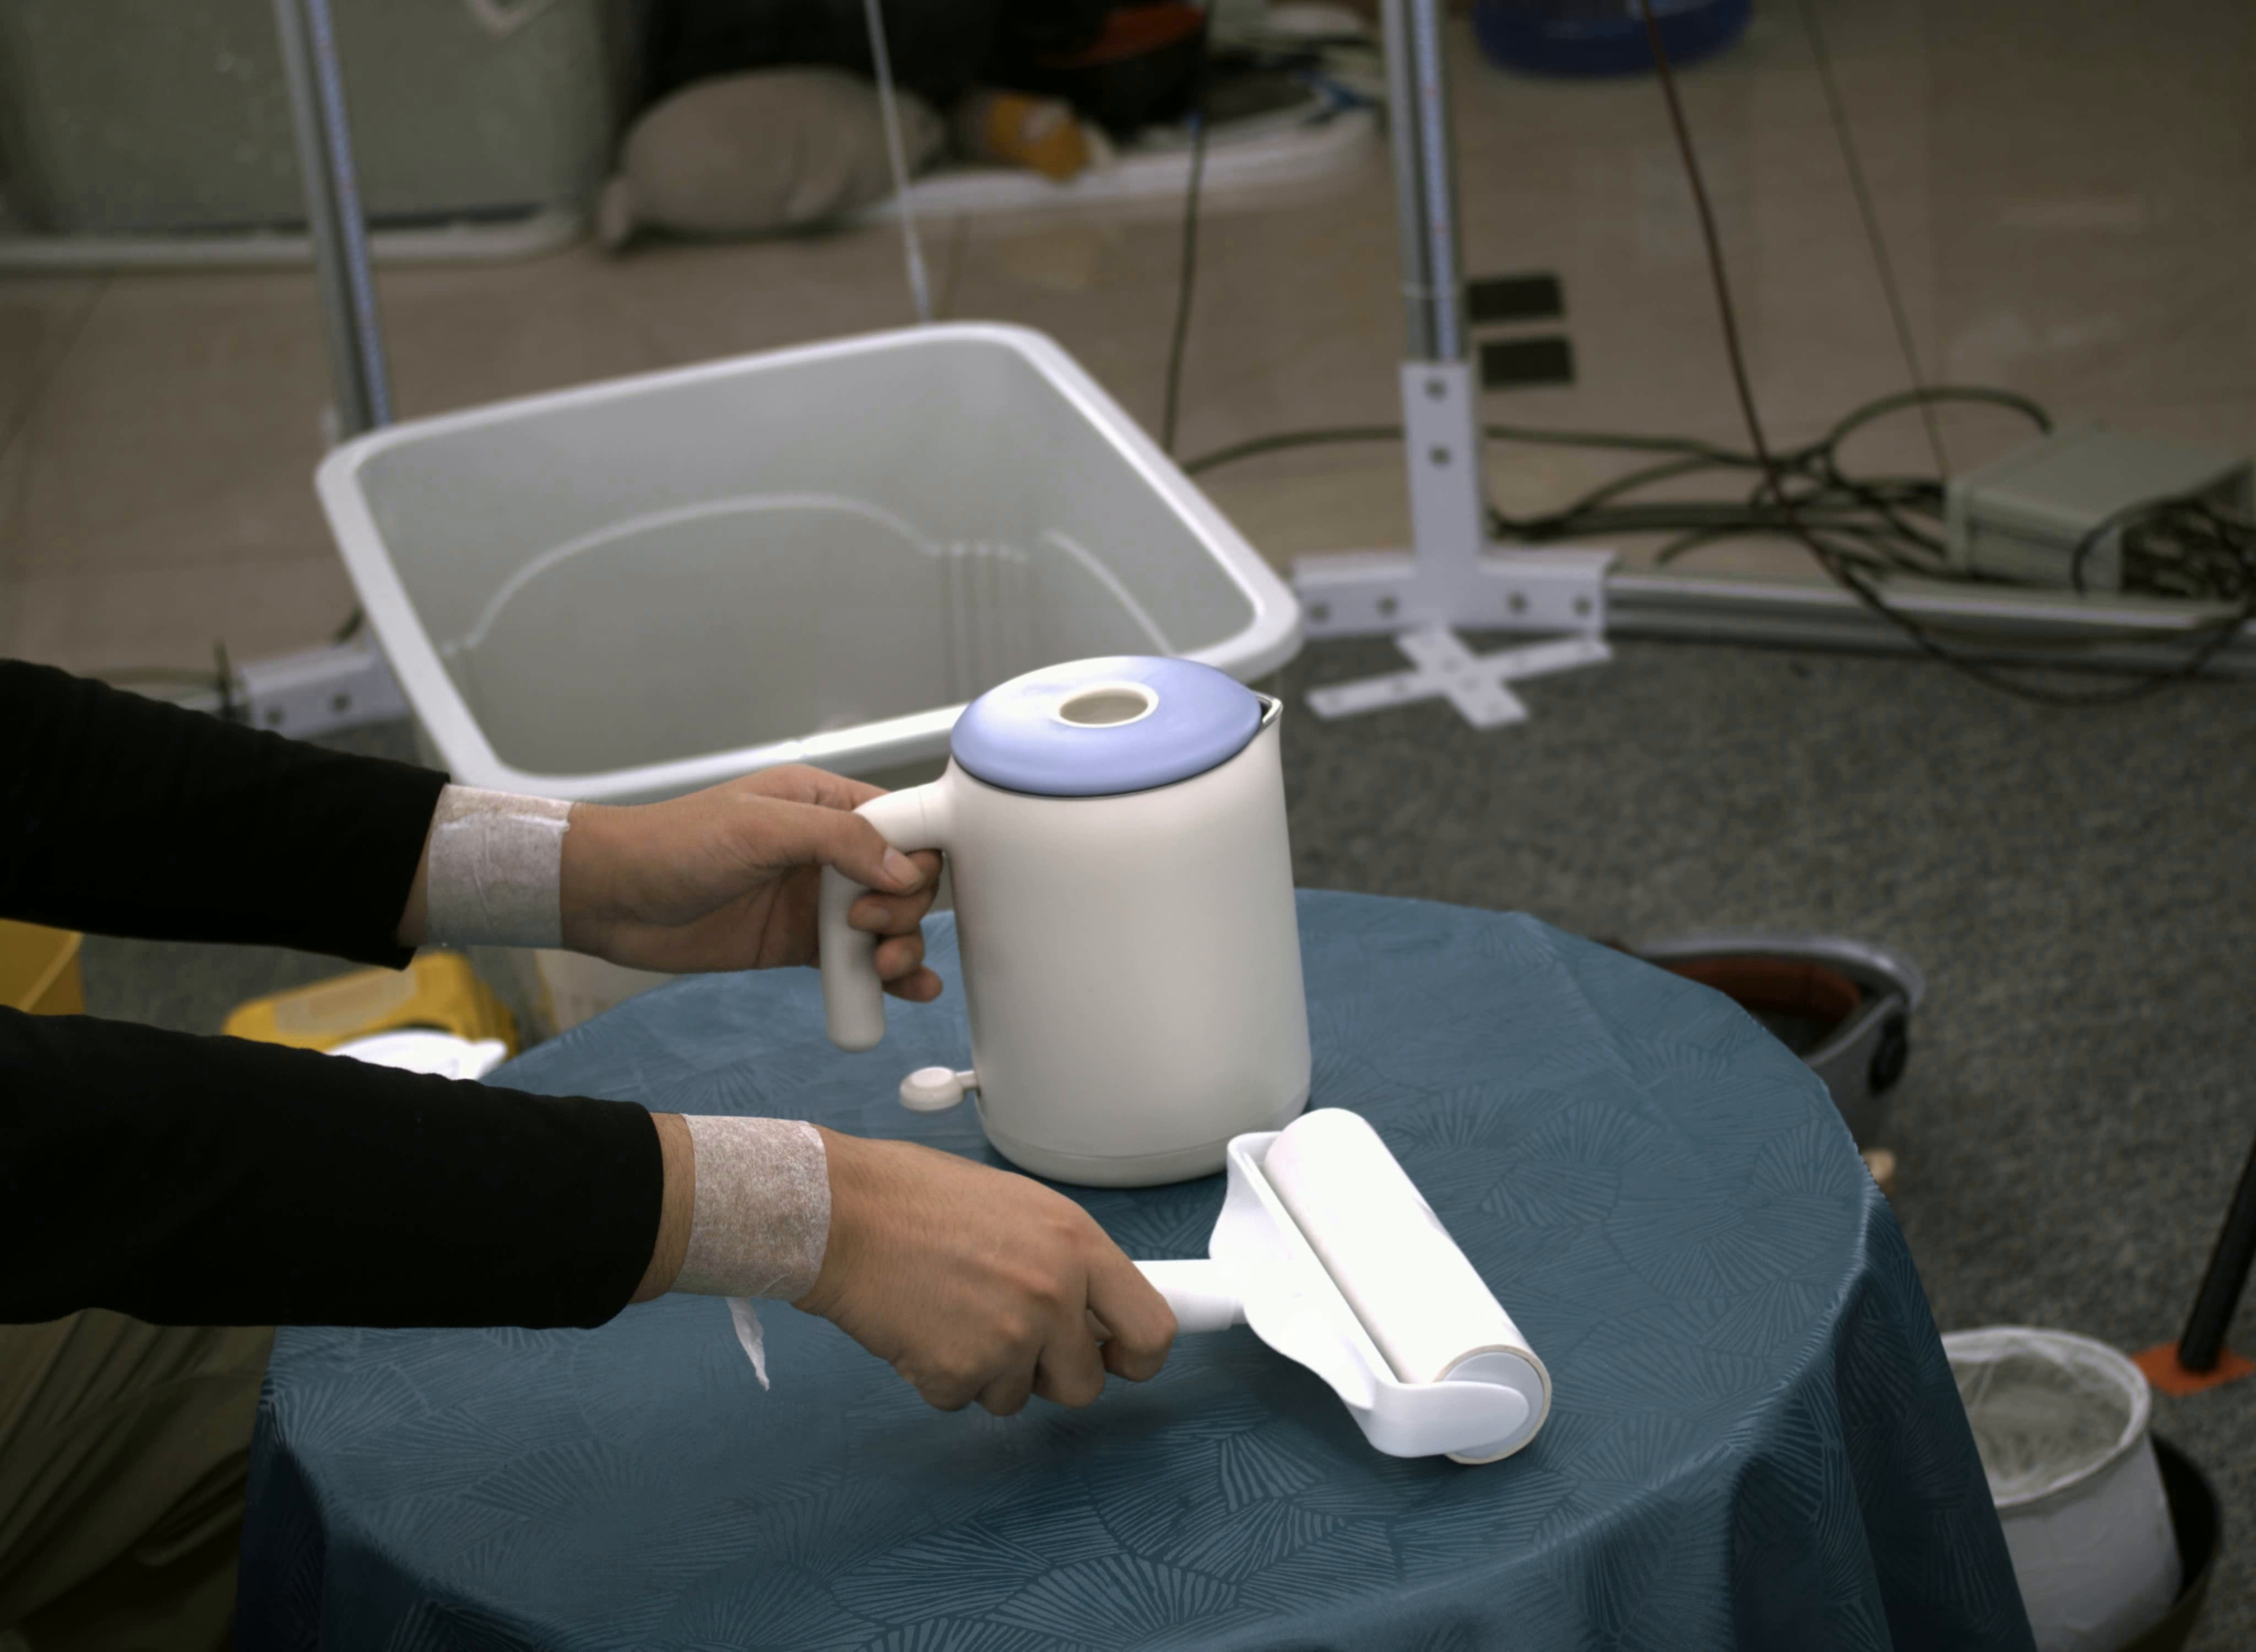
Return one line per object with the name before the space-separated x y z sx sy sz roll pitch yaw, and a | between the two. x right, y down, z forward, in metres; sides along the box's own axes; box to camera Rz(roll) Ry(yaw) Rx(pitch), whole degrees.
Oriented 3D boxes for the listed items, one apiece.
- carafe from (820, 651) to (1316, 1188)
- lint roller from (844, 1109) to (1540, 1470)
carafe | -0.024 0.040 2.160 0.190 0.185 0.130 -12 26 -7
lint roller | 0.011 0.164 1.993 0.225 0.049 0.200 -1 24 -17
